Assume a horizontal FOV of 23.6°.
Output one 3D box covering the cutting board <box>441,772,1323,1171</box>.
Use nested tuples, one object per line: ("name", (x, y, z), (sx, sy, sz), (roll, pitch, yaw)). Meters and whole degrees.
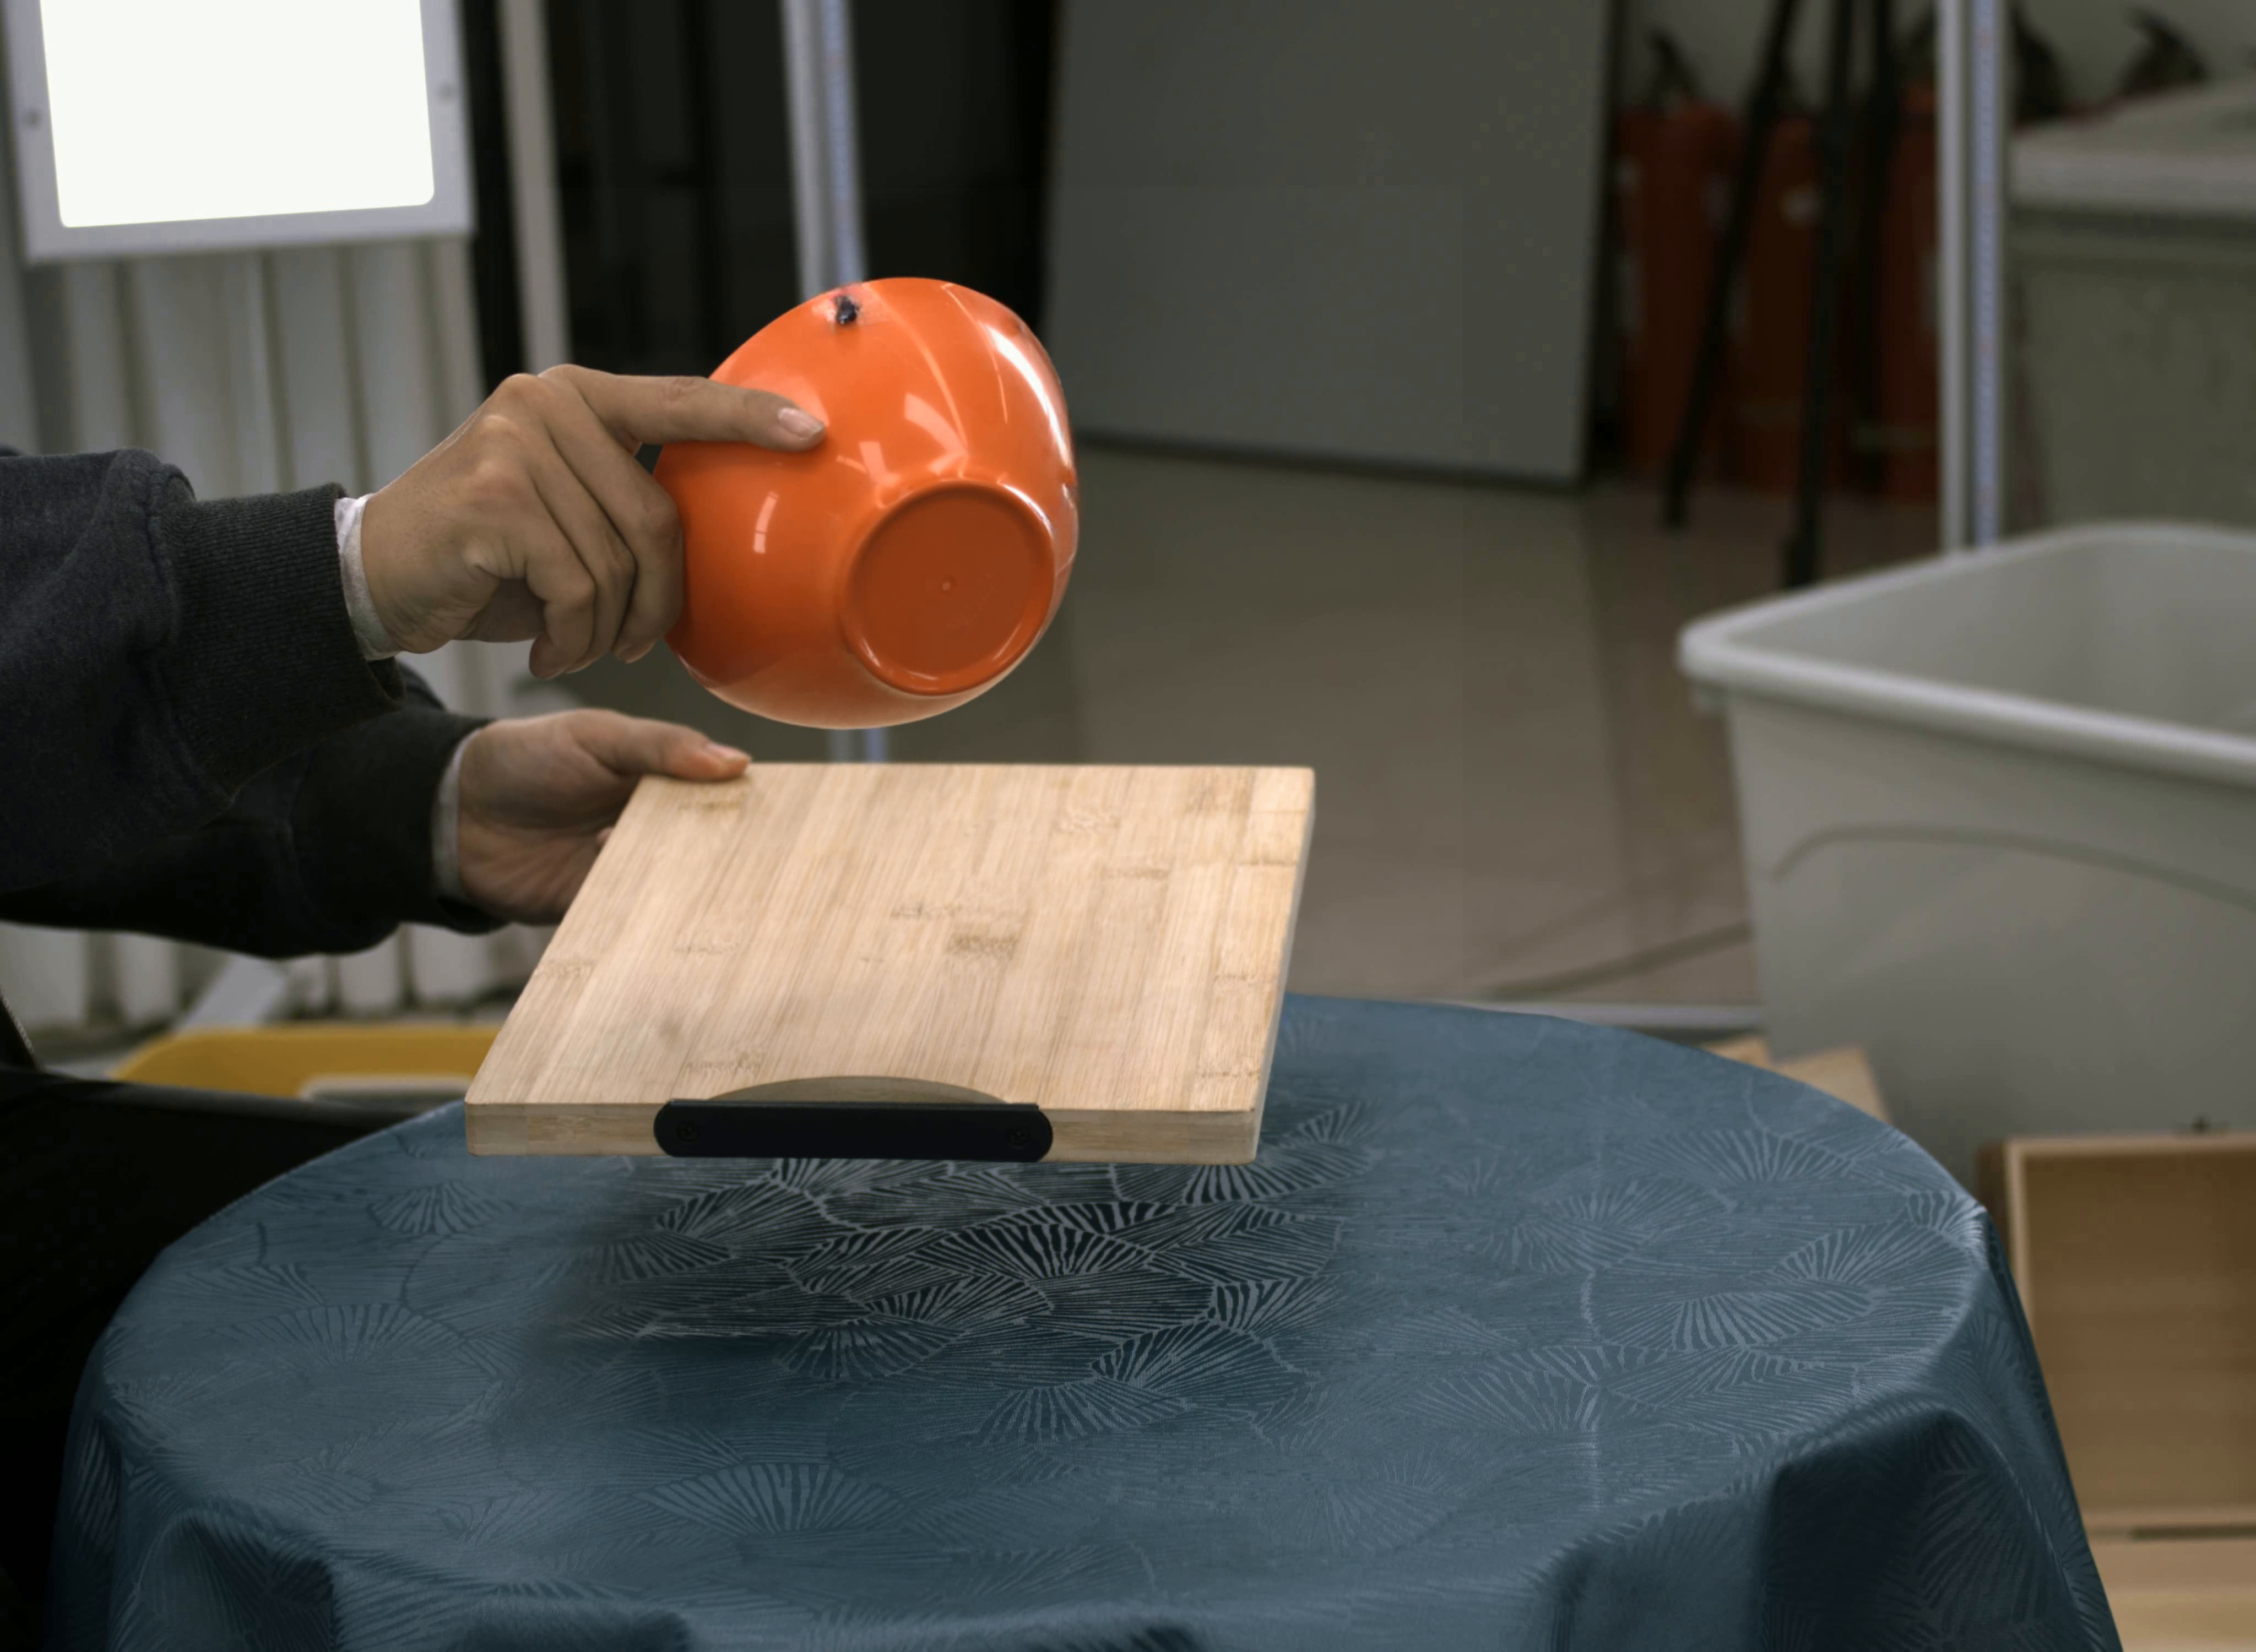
("cutting board", (-0.067, 0.042, 1.749), (0.248, 0.024, 0.348), (-1, 17, 5))

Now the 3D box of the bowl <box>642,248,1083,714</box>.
("bowl", (-0.063, -0.088, 1.589), (0.145, 0.149, 0.106), (-8, 25, -21))
